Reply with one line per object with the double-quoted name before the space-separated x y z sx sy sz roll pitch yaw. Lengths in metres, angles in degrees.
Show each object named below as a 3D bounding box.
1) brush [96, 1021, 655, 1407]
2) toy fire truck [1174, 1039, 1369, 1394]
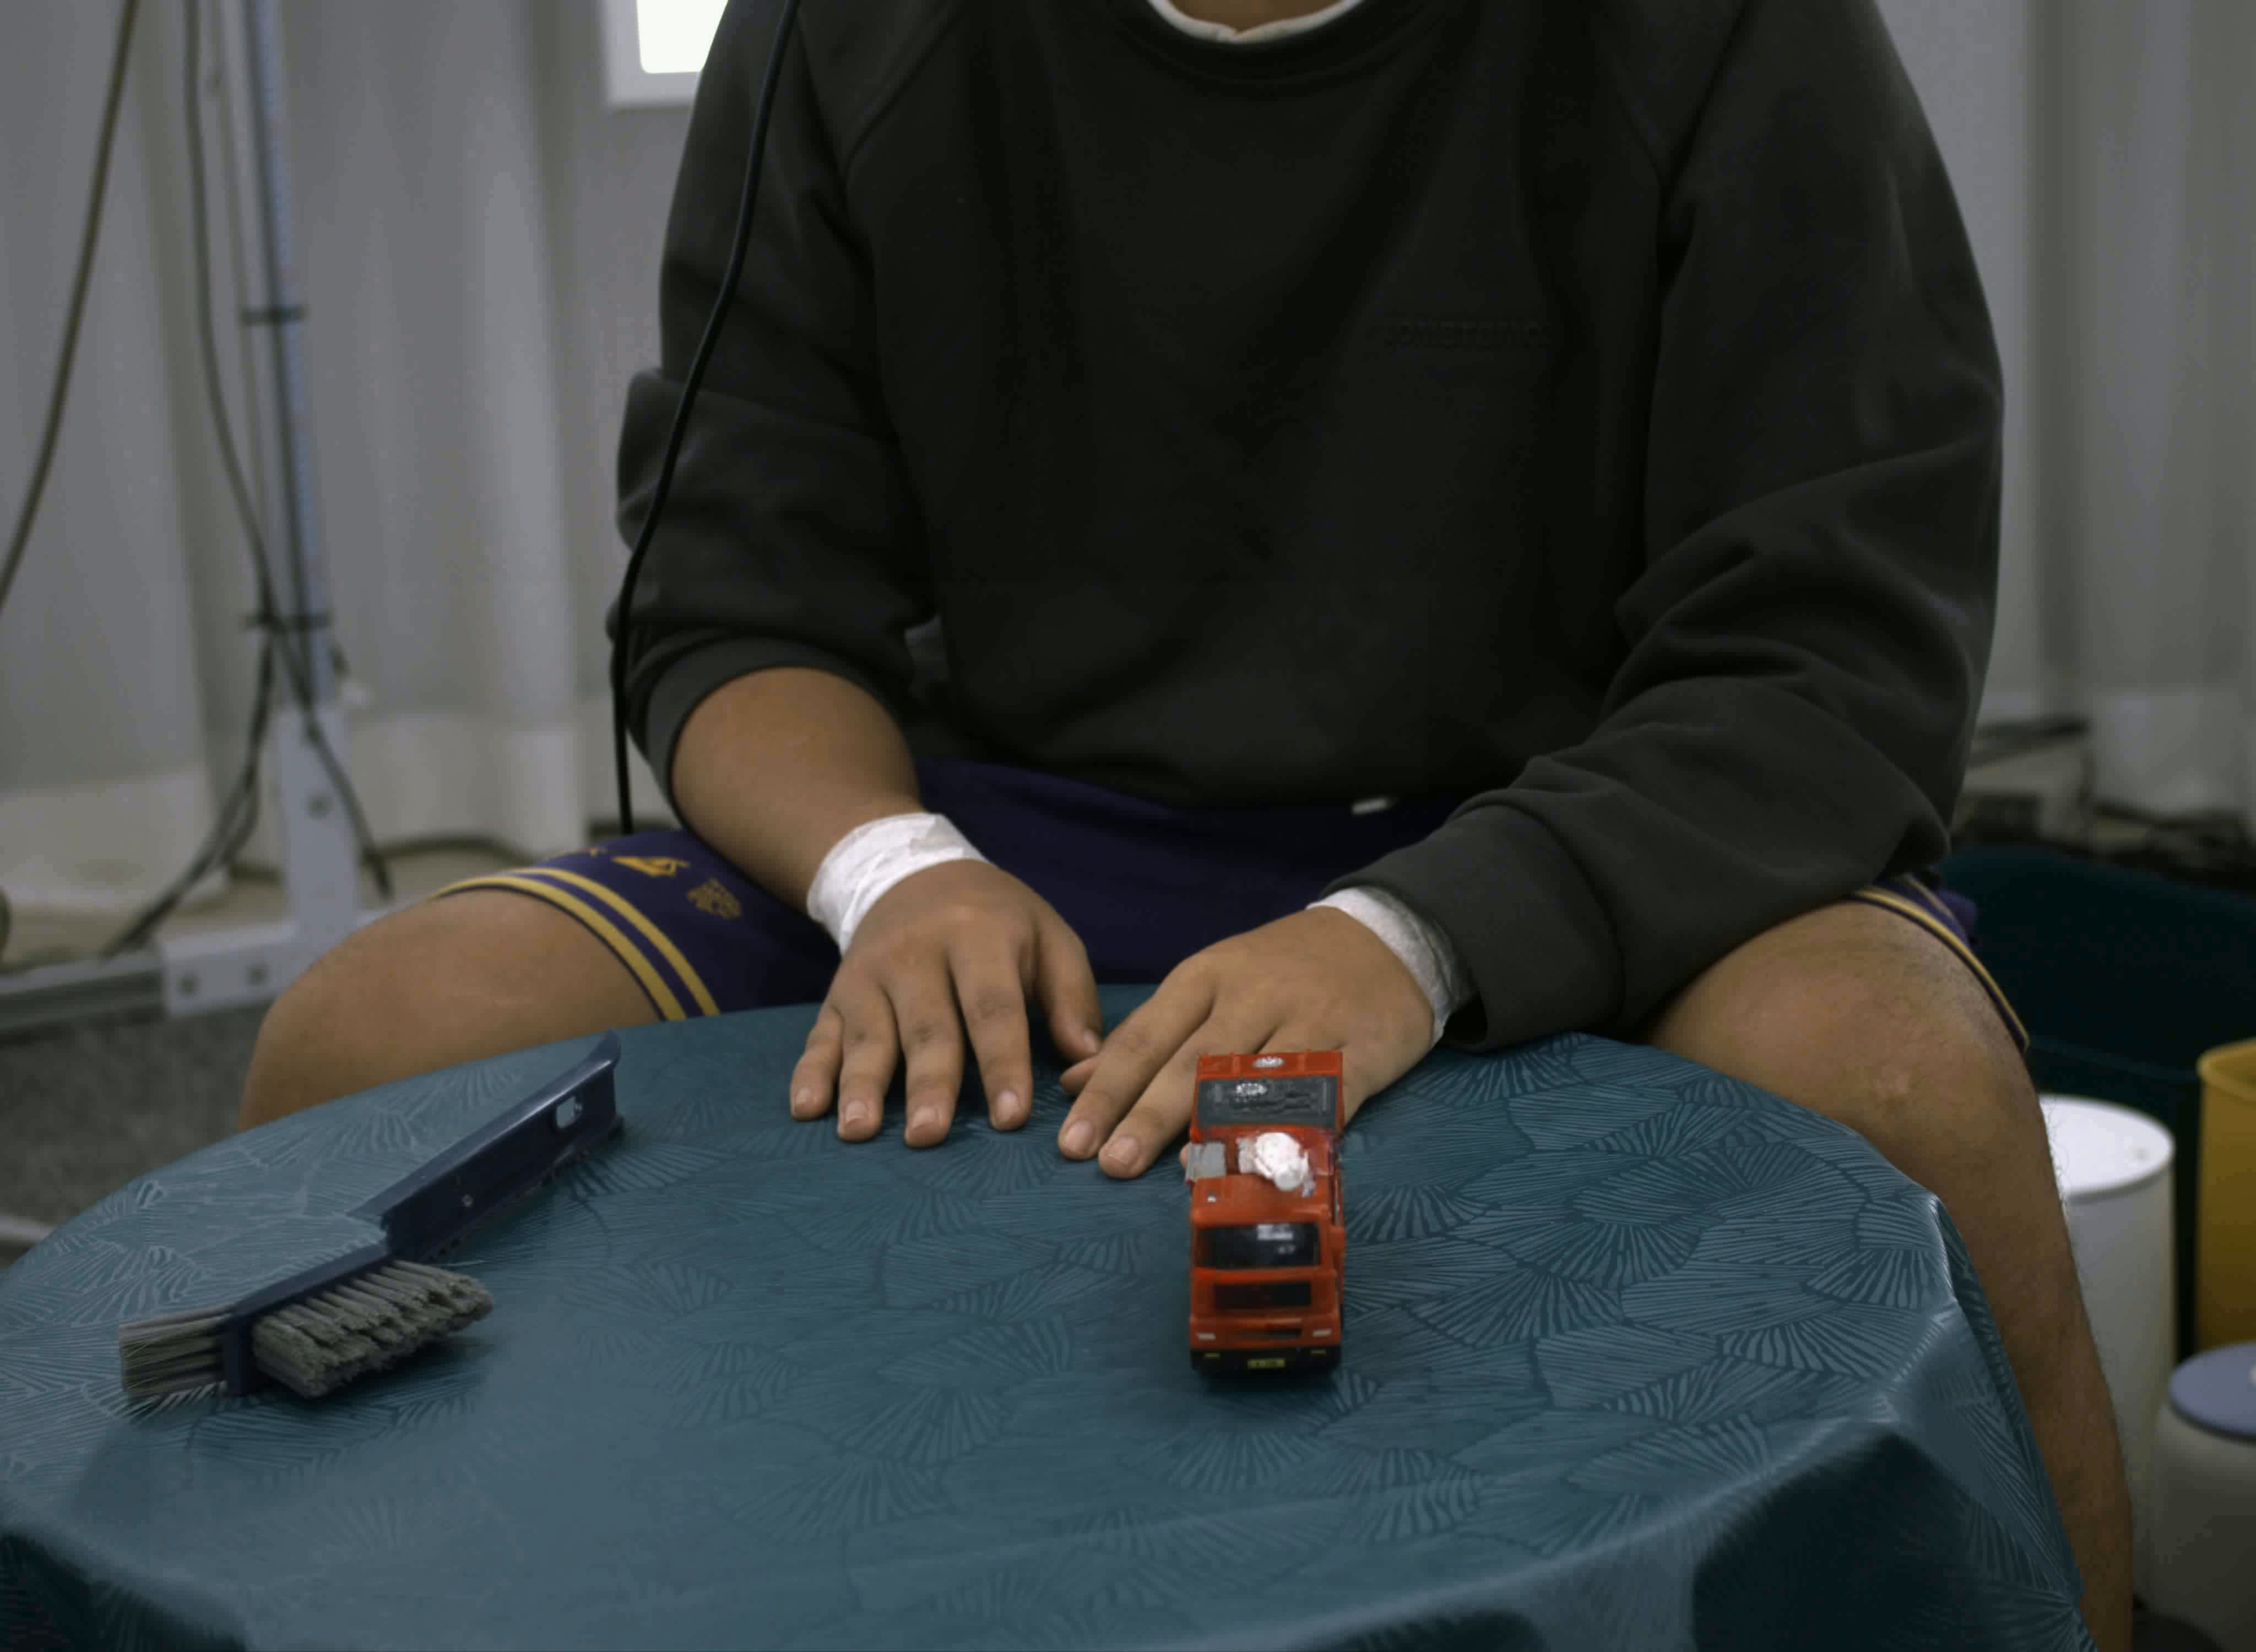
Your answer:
"brush" -0.221 0.117 1.688 0.095 0.033 0.274 -1 16 15
"toy fire truck" 0.042 0.112 1.605 0.054 0.070 0.169 -2 14 3
